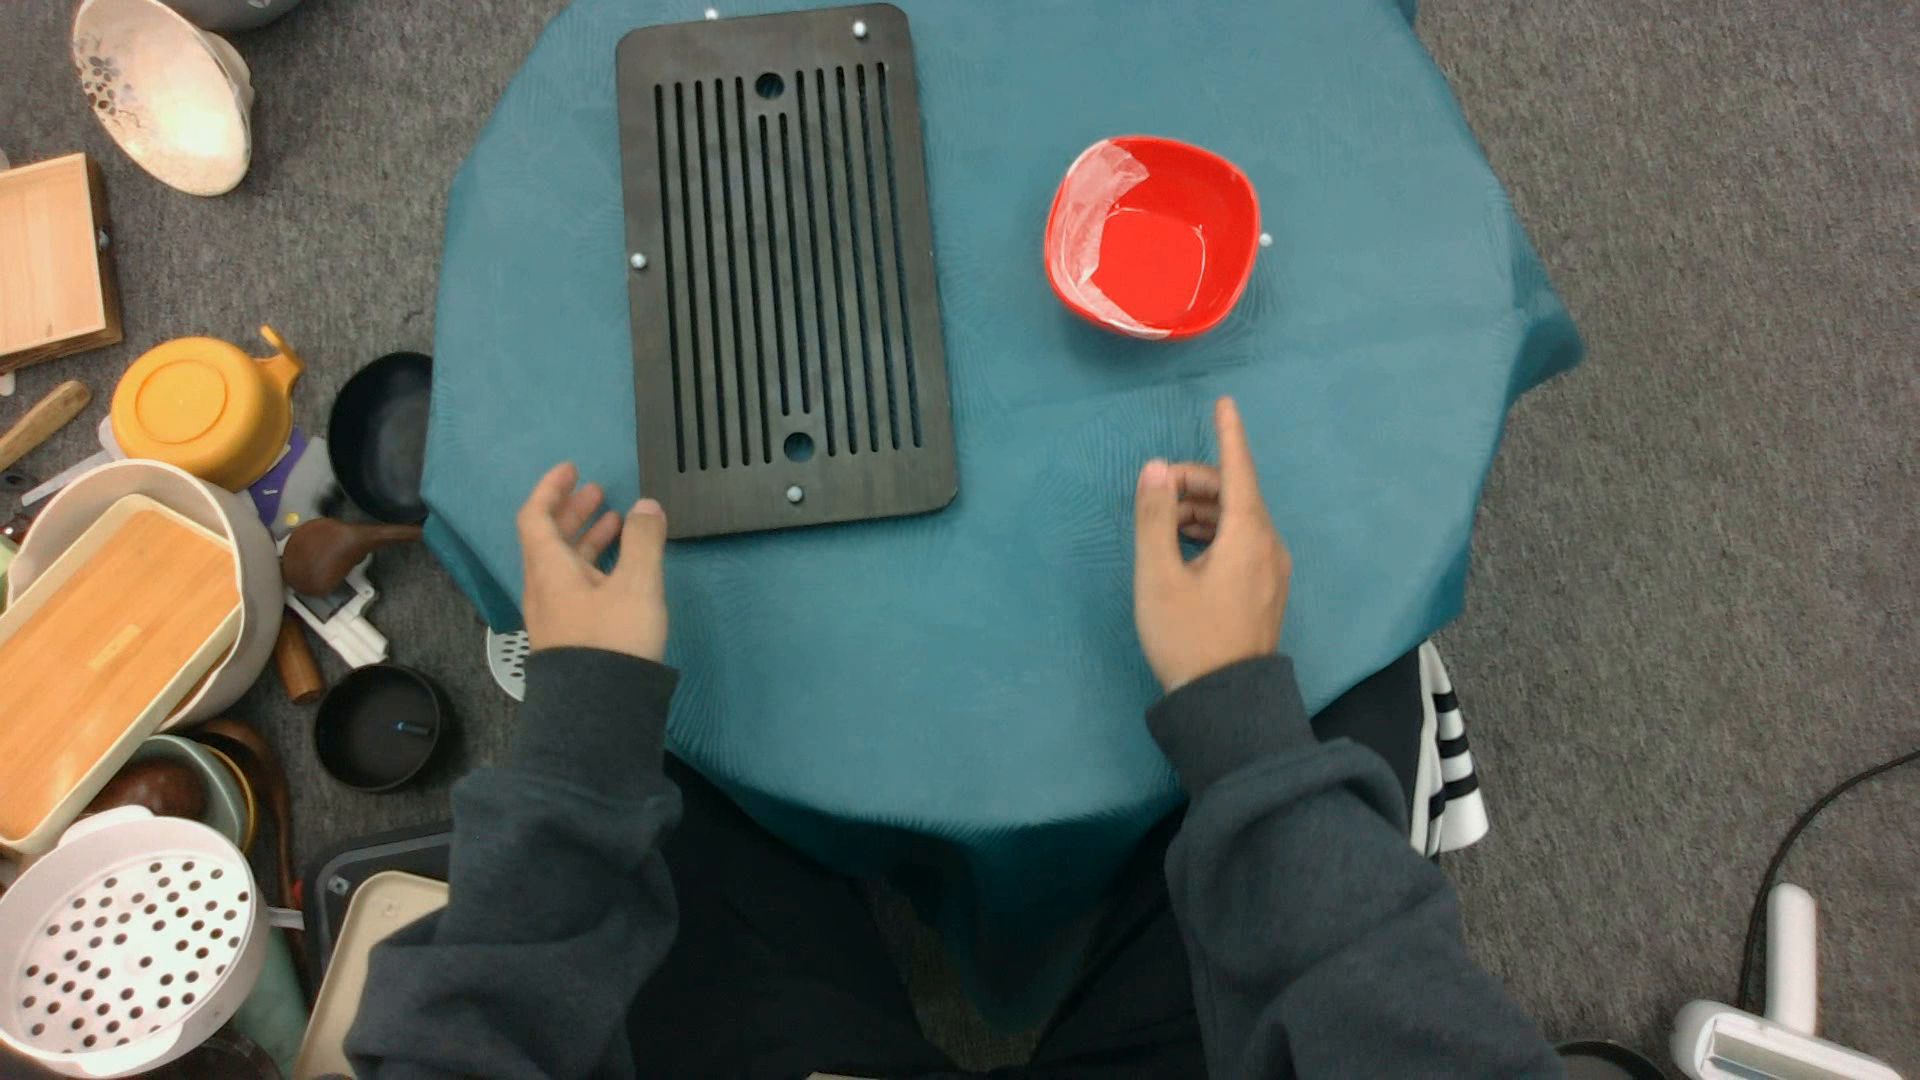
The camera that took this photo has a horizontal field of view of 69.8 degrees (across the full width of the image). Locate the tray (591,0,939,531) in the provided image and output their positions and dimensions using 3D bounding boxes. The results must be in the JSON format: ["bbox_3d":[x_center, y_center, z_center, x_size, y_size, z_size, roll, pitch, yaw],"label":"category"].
[{"bbox_3d":[-0.111,-0.160,0.765,0.170,0.018,0.306,-7,77,-1],"label":"tray"}]

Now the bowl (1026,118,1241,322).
[{"bbox_3d":[0.091,-0.164,0.743,0.119,0.051,0.119,0,76,0],"label":"bowl"}]
